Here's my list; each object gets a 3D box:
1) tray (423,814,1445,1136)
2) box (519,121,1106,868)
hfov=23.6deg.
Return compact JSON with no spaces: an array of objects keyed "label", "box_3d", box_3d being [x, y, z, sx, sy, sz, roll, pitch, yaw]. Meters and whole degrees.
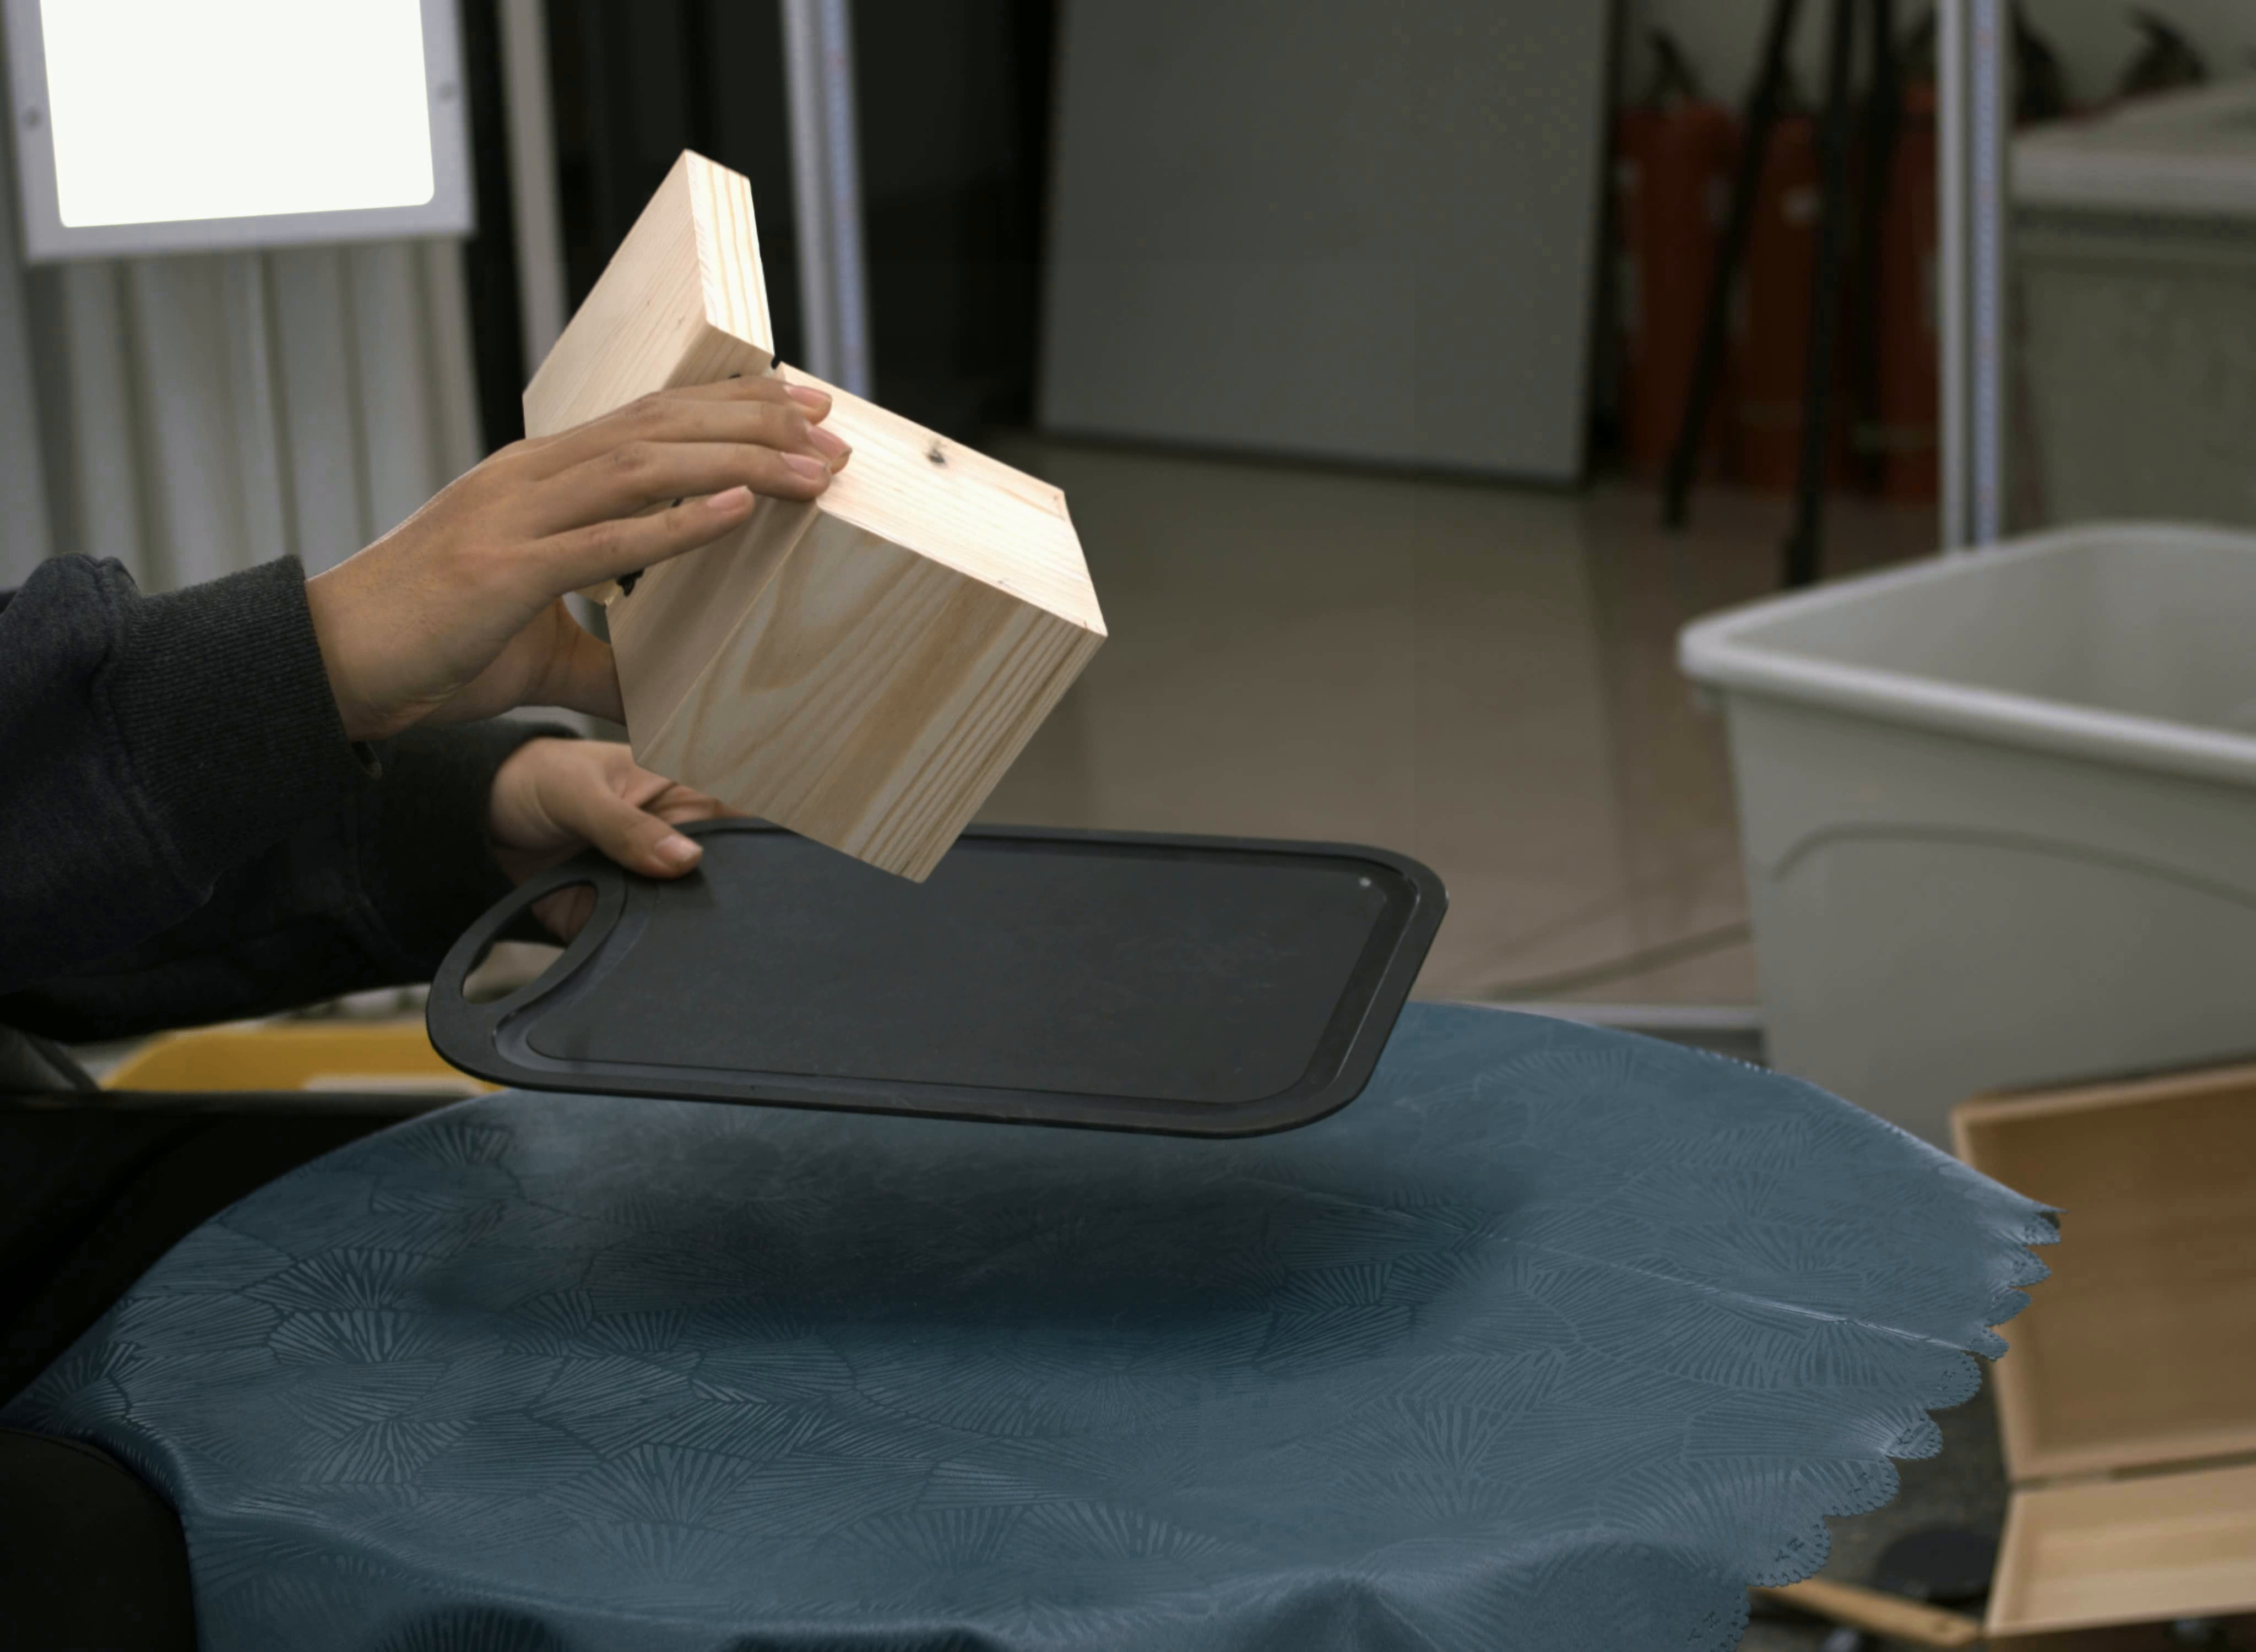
[{"label":"tray","box_3d":[-0.067,0.043,1.748,0.324,0.010,0.210,3,25,16]},{"label":"box","box_3d":[-0.096,-0.099,1.606,0.131,0.103,0.186,23,30,-27]}]
